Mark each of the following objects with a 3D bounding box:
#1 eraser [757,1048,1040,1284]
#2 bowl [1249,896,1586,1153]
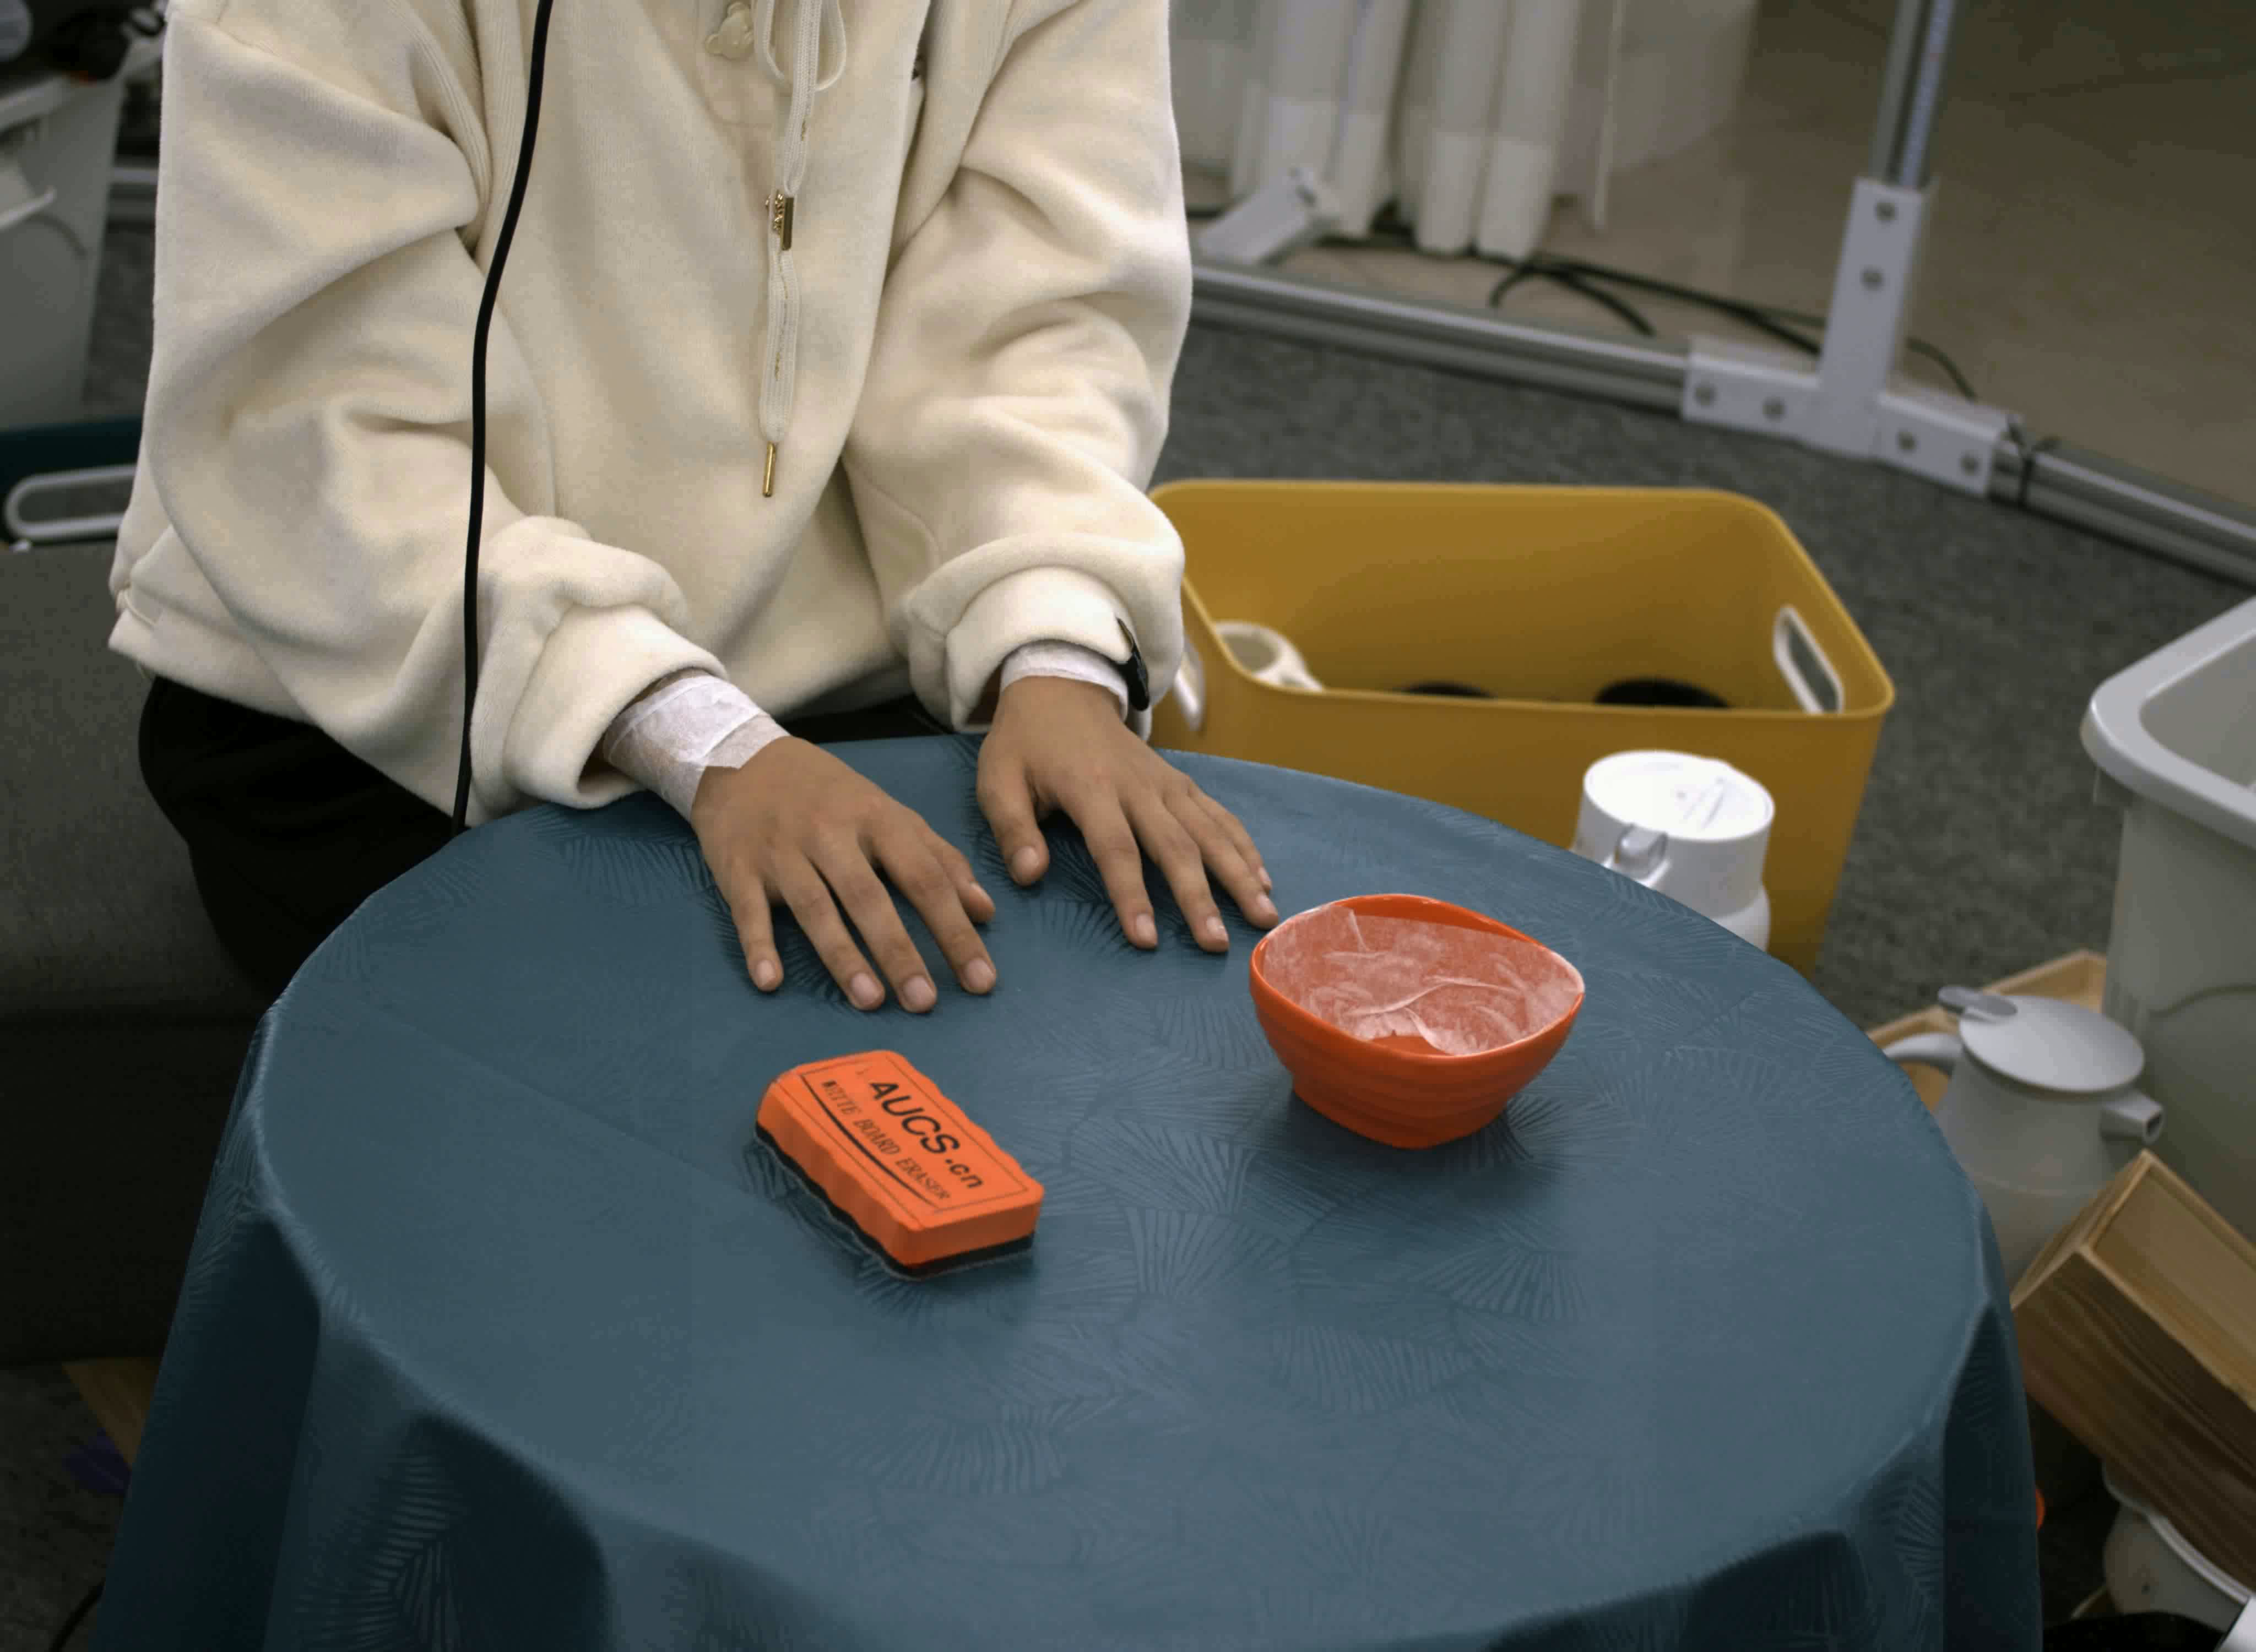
[{"bbox_3d":[-0.078,0.113,1.780,0.058,0.023,0.109,-12,33,-28],"label":"eraser"},{"bbox_3d":[0.099,0.073,1.867,0.118,0.051,0.119,4,27,-2],"label":"bowl"}]
